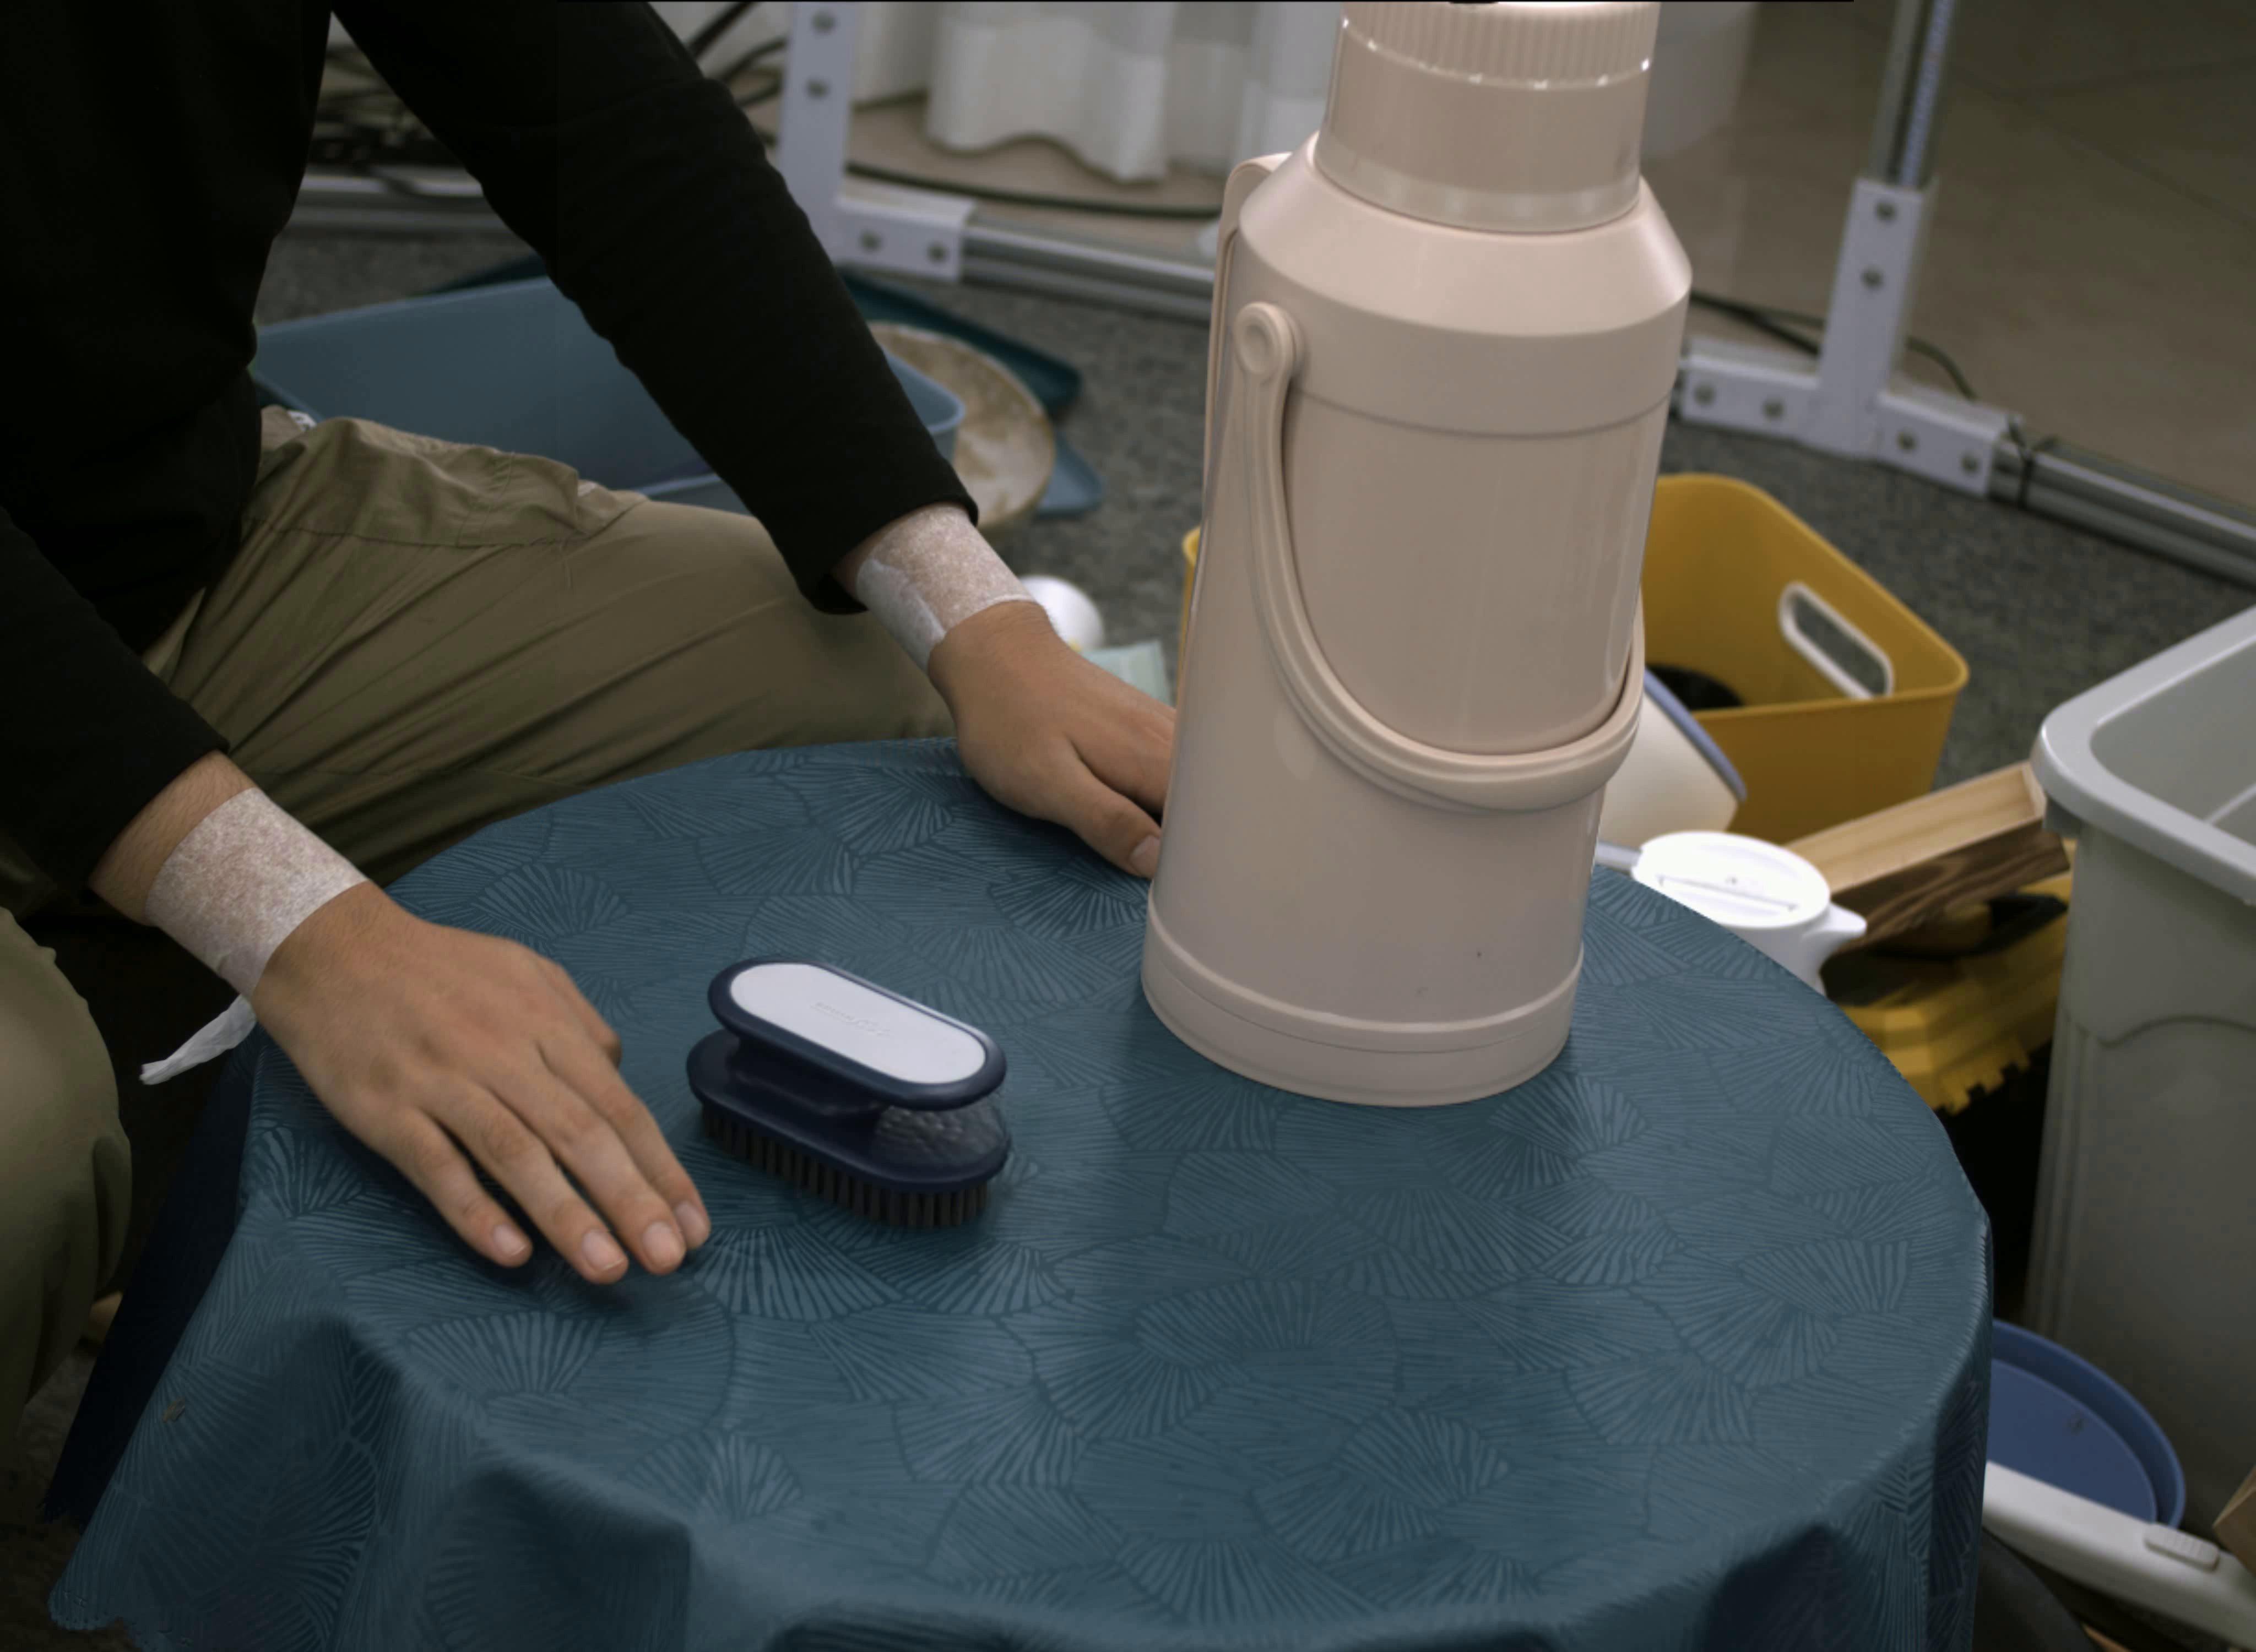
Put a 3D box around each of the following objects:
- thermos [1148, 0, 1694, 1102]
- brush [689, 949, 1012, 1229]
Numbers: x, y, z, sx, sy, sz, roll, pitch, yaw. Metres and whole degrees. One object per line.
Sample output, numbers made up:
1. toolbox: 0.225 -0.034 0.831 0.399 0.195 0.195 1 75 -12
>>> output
1. thermos: 0.098 -0.120 1.865 0.174 0.405 0.209 -15 34 -34
2. brush: -0.093 0.090 1.787 0.122 0.061 0.067 26 29 29
